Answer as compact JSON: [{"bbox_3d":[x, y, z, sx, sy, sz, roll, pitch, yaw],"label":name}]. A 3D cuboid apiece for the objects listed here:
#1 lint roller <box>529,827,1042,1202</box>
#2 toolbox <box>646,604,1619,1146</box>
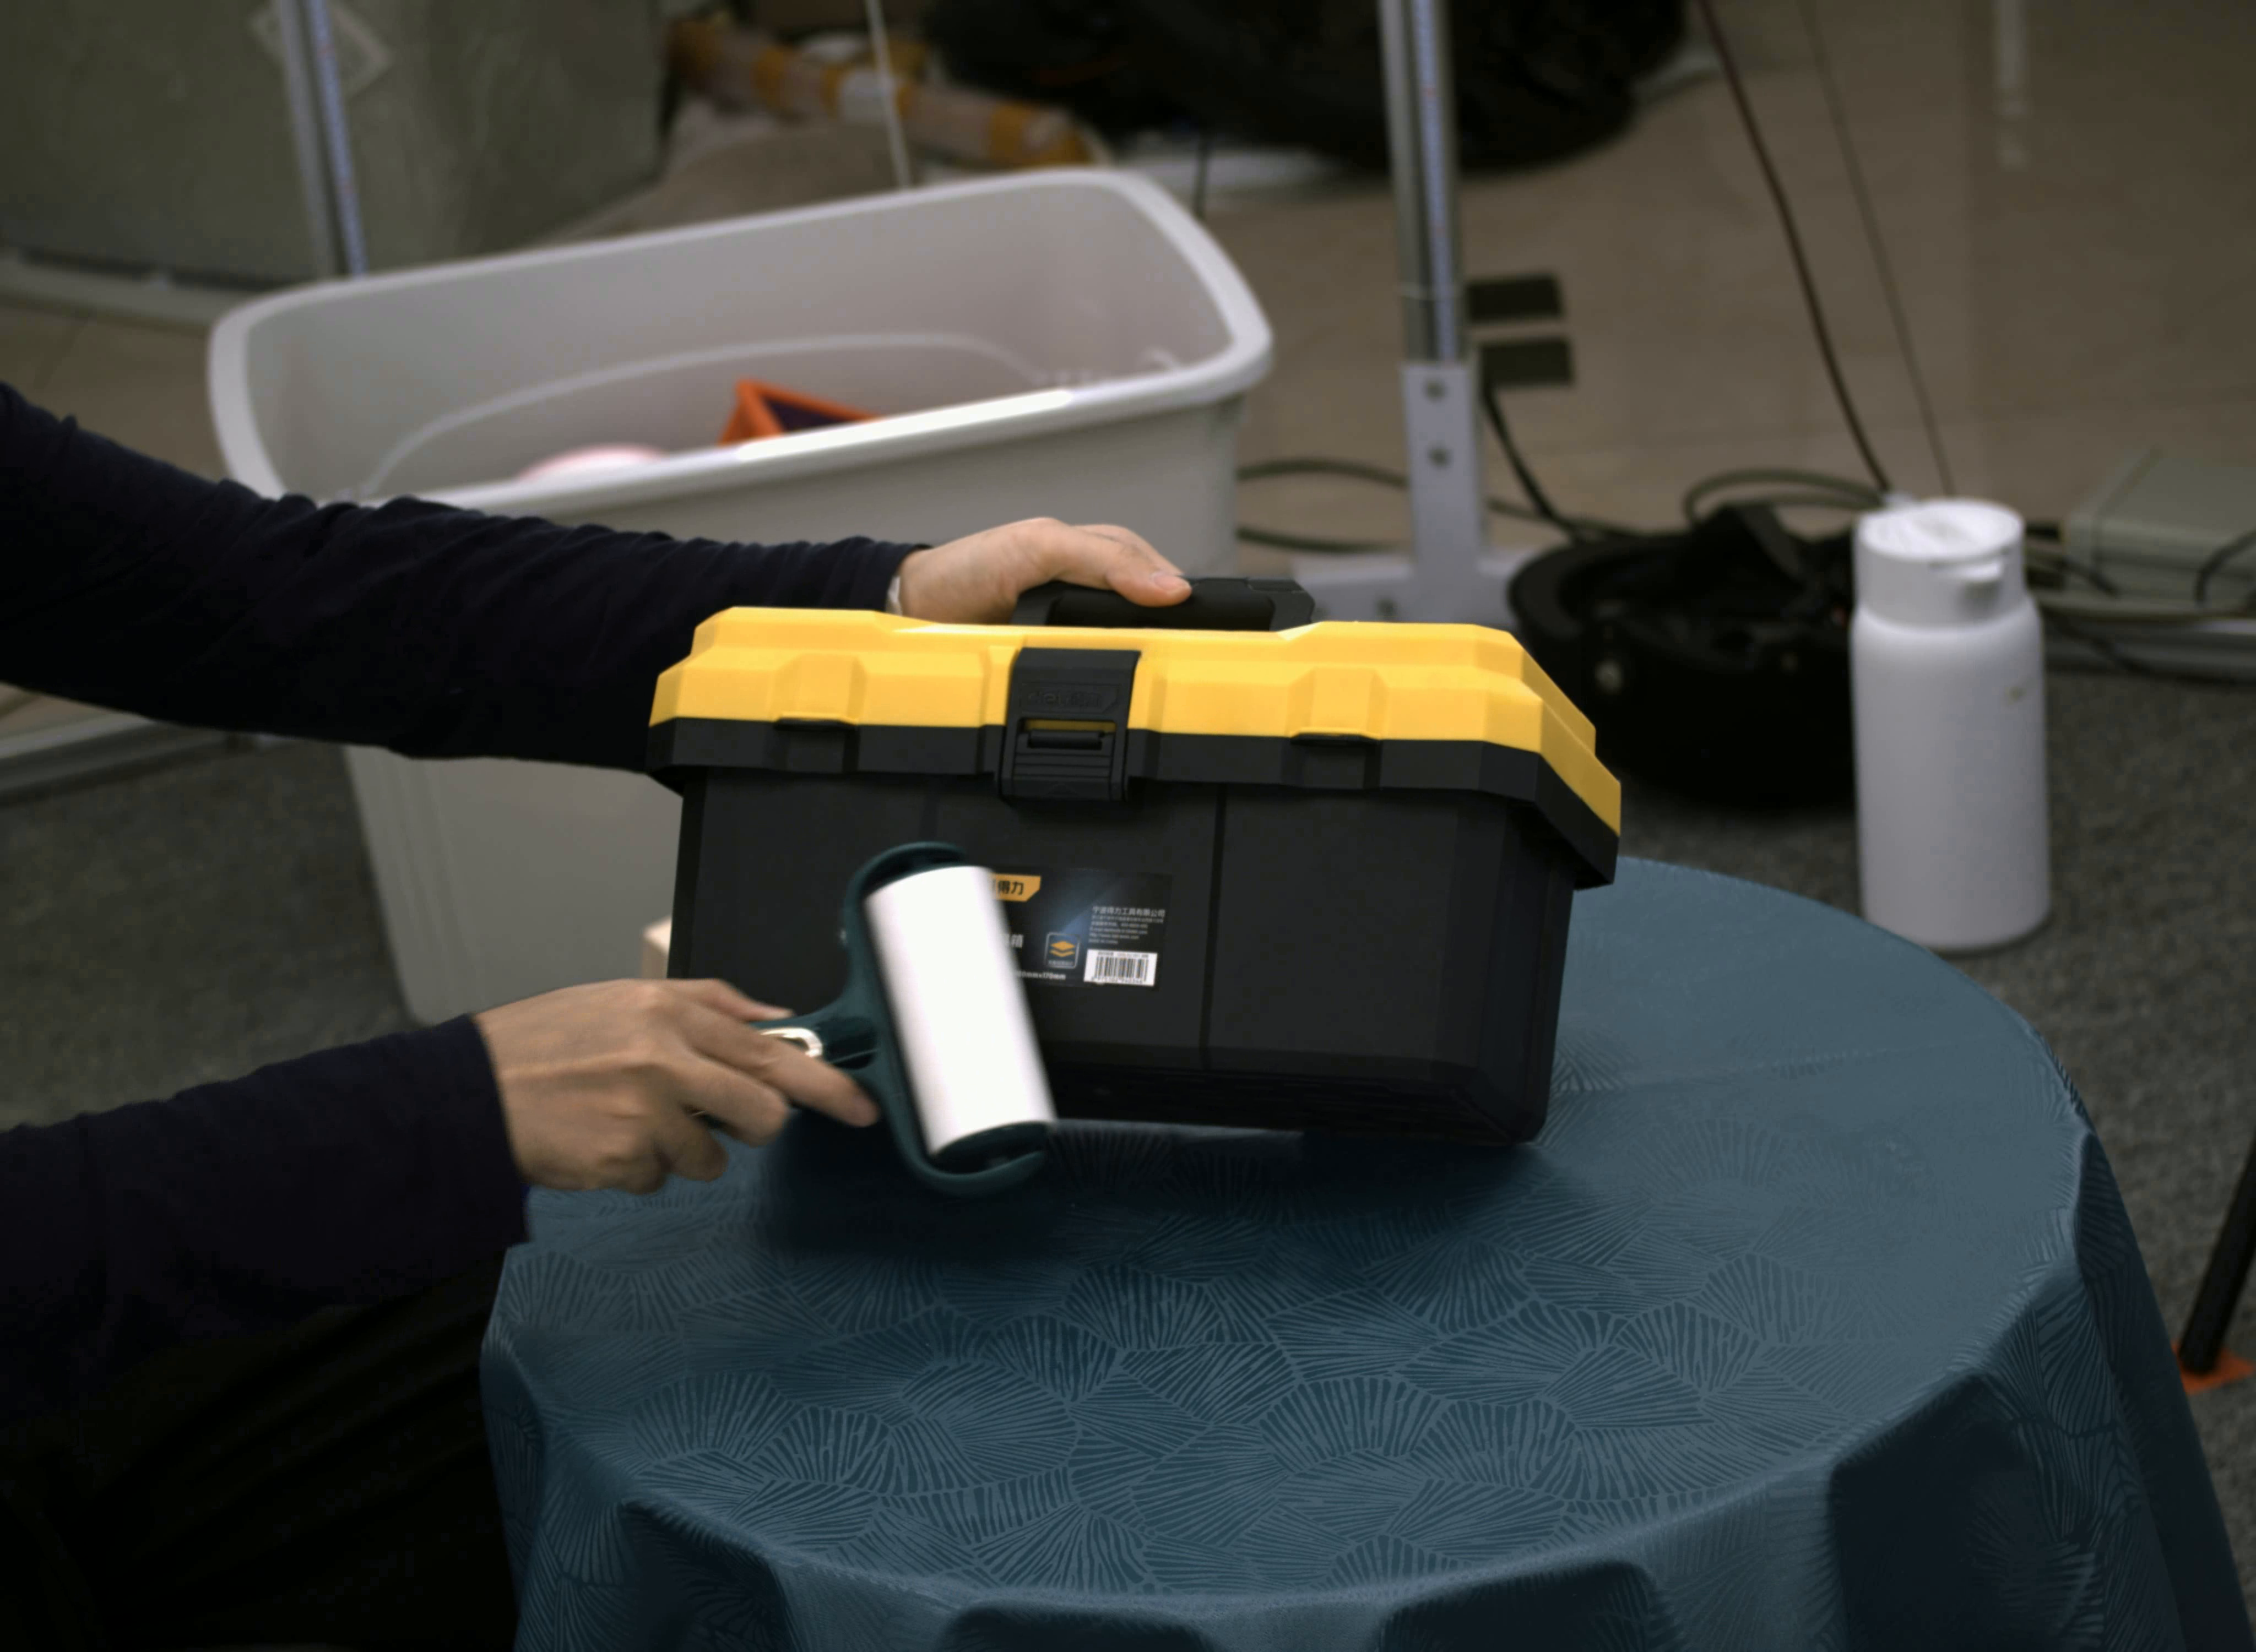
[{"bbox_3d":[-0.131,0.086,2.062,0.179,0.133,0.049,-14,-14,-9],"label":"lint roller"},{"bbox_3d":[-0.002,0.019,2.155,0.350,0.172,0.183,2,-12,18],"label":"toolbox"}]
